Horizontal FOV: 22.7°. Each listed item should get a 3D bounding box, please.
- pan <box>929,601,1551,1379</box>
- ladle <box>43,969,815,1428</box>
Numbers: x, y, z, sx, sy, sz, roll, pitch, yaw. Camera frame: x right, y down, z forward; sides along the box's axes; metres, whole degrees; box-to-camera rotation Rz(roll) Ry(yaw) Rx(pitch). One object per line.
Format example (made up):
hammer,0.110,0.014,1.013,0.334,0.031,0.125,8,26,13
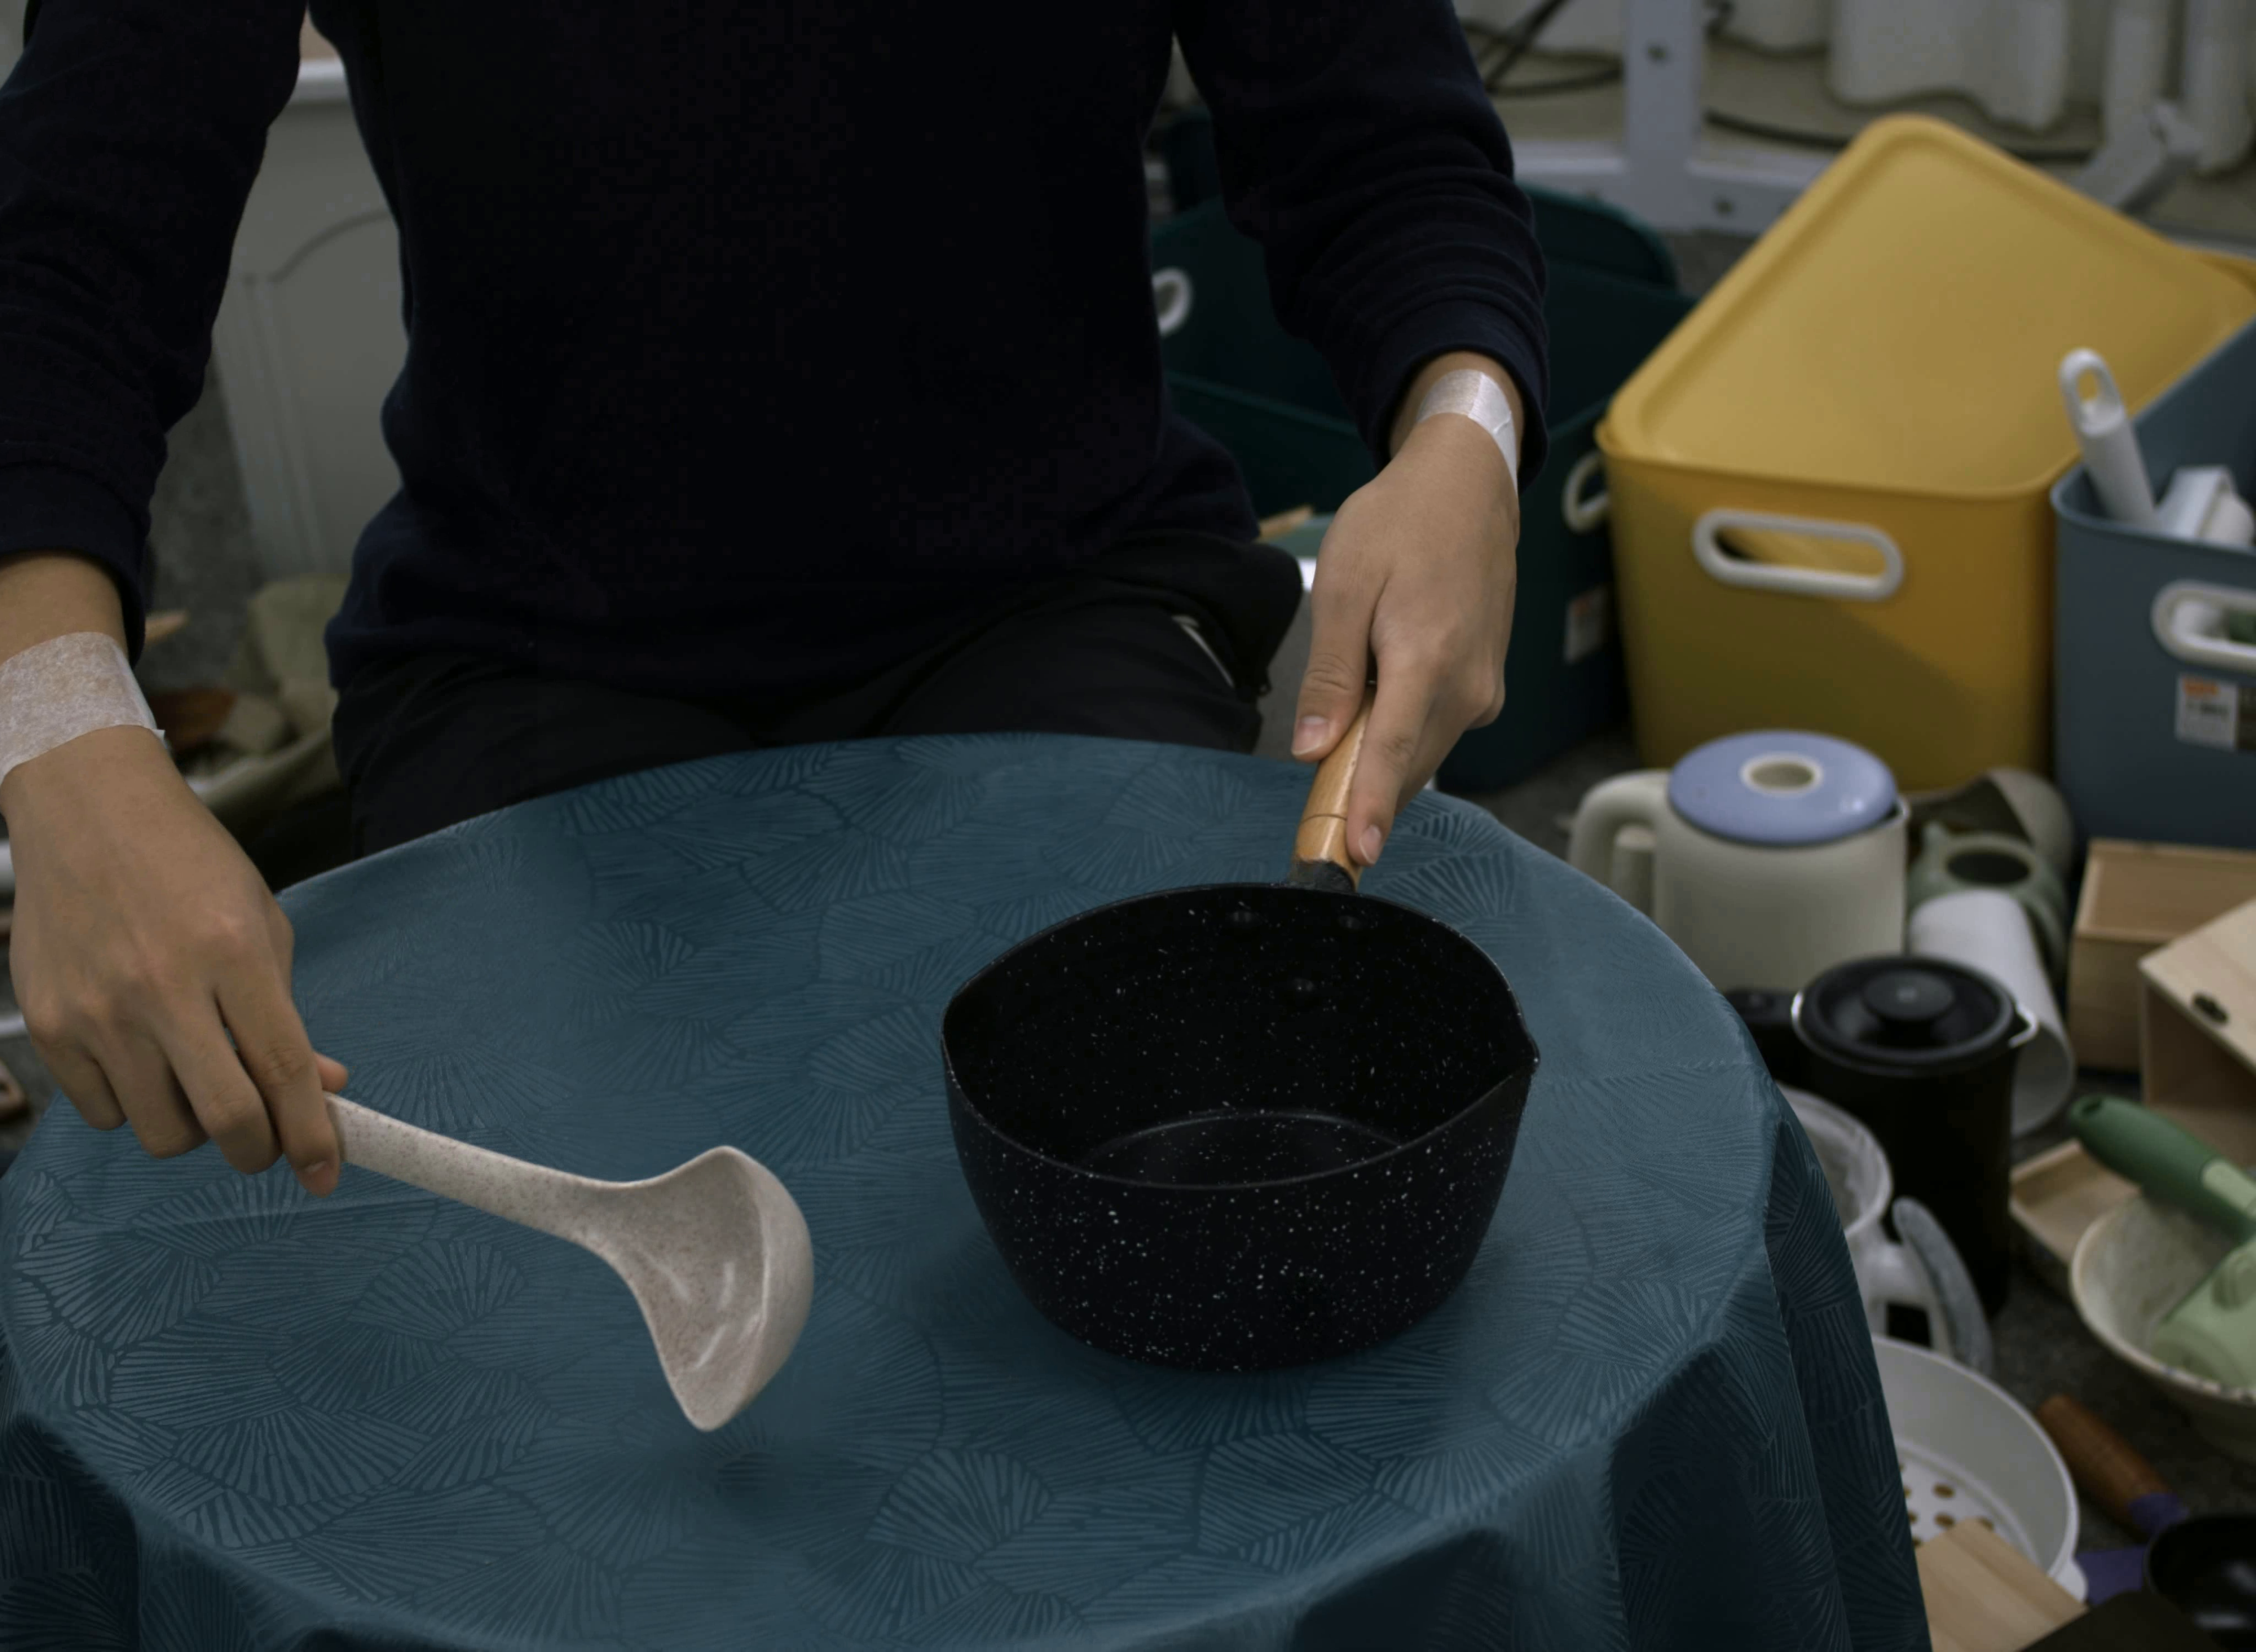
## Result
pan,0.053,0.051,1.869,0.206,0.107,0.349,3,31,14
ladle,-0.225,0.106,1.725,0.274,0.088,0.070,18,26,11
